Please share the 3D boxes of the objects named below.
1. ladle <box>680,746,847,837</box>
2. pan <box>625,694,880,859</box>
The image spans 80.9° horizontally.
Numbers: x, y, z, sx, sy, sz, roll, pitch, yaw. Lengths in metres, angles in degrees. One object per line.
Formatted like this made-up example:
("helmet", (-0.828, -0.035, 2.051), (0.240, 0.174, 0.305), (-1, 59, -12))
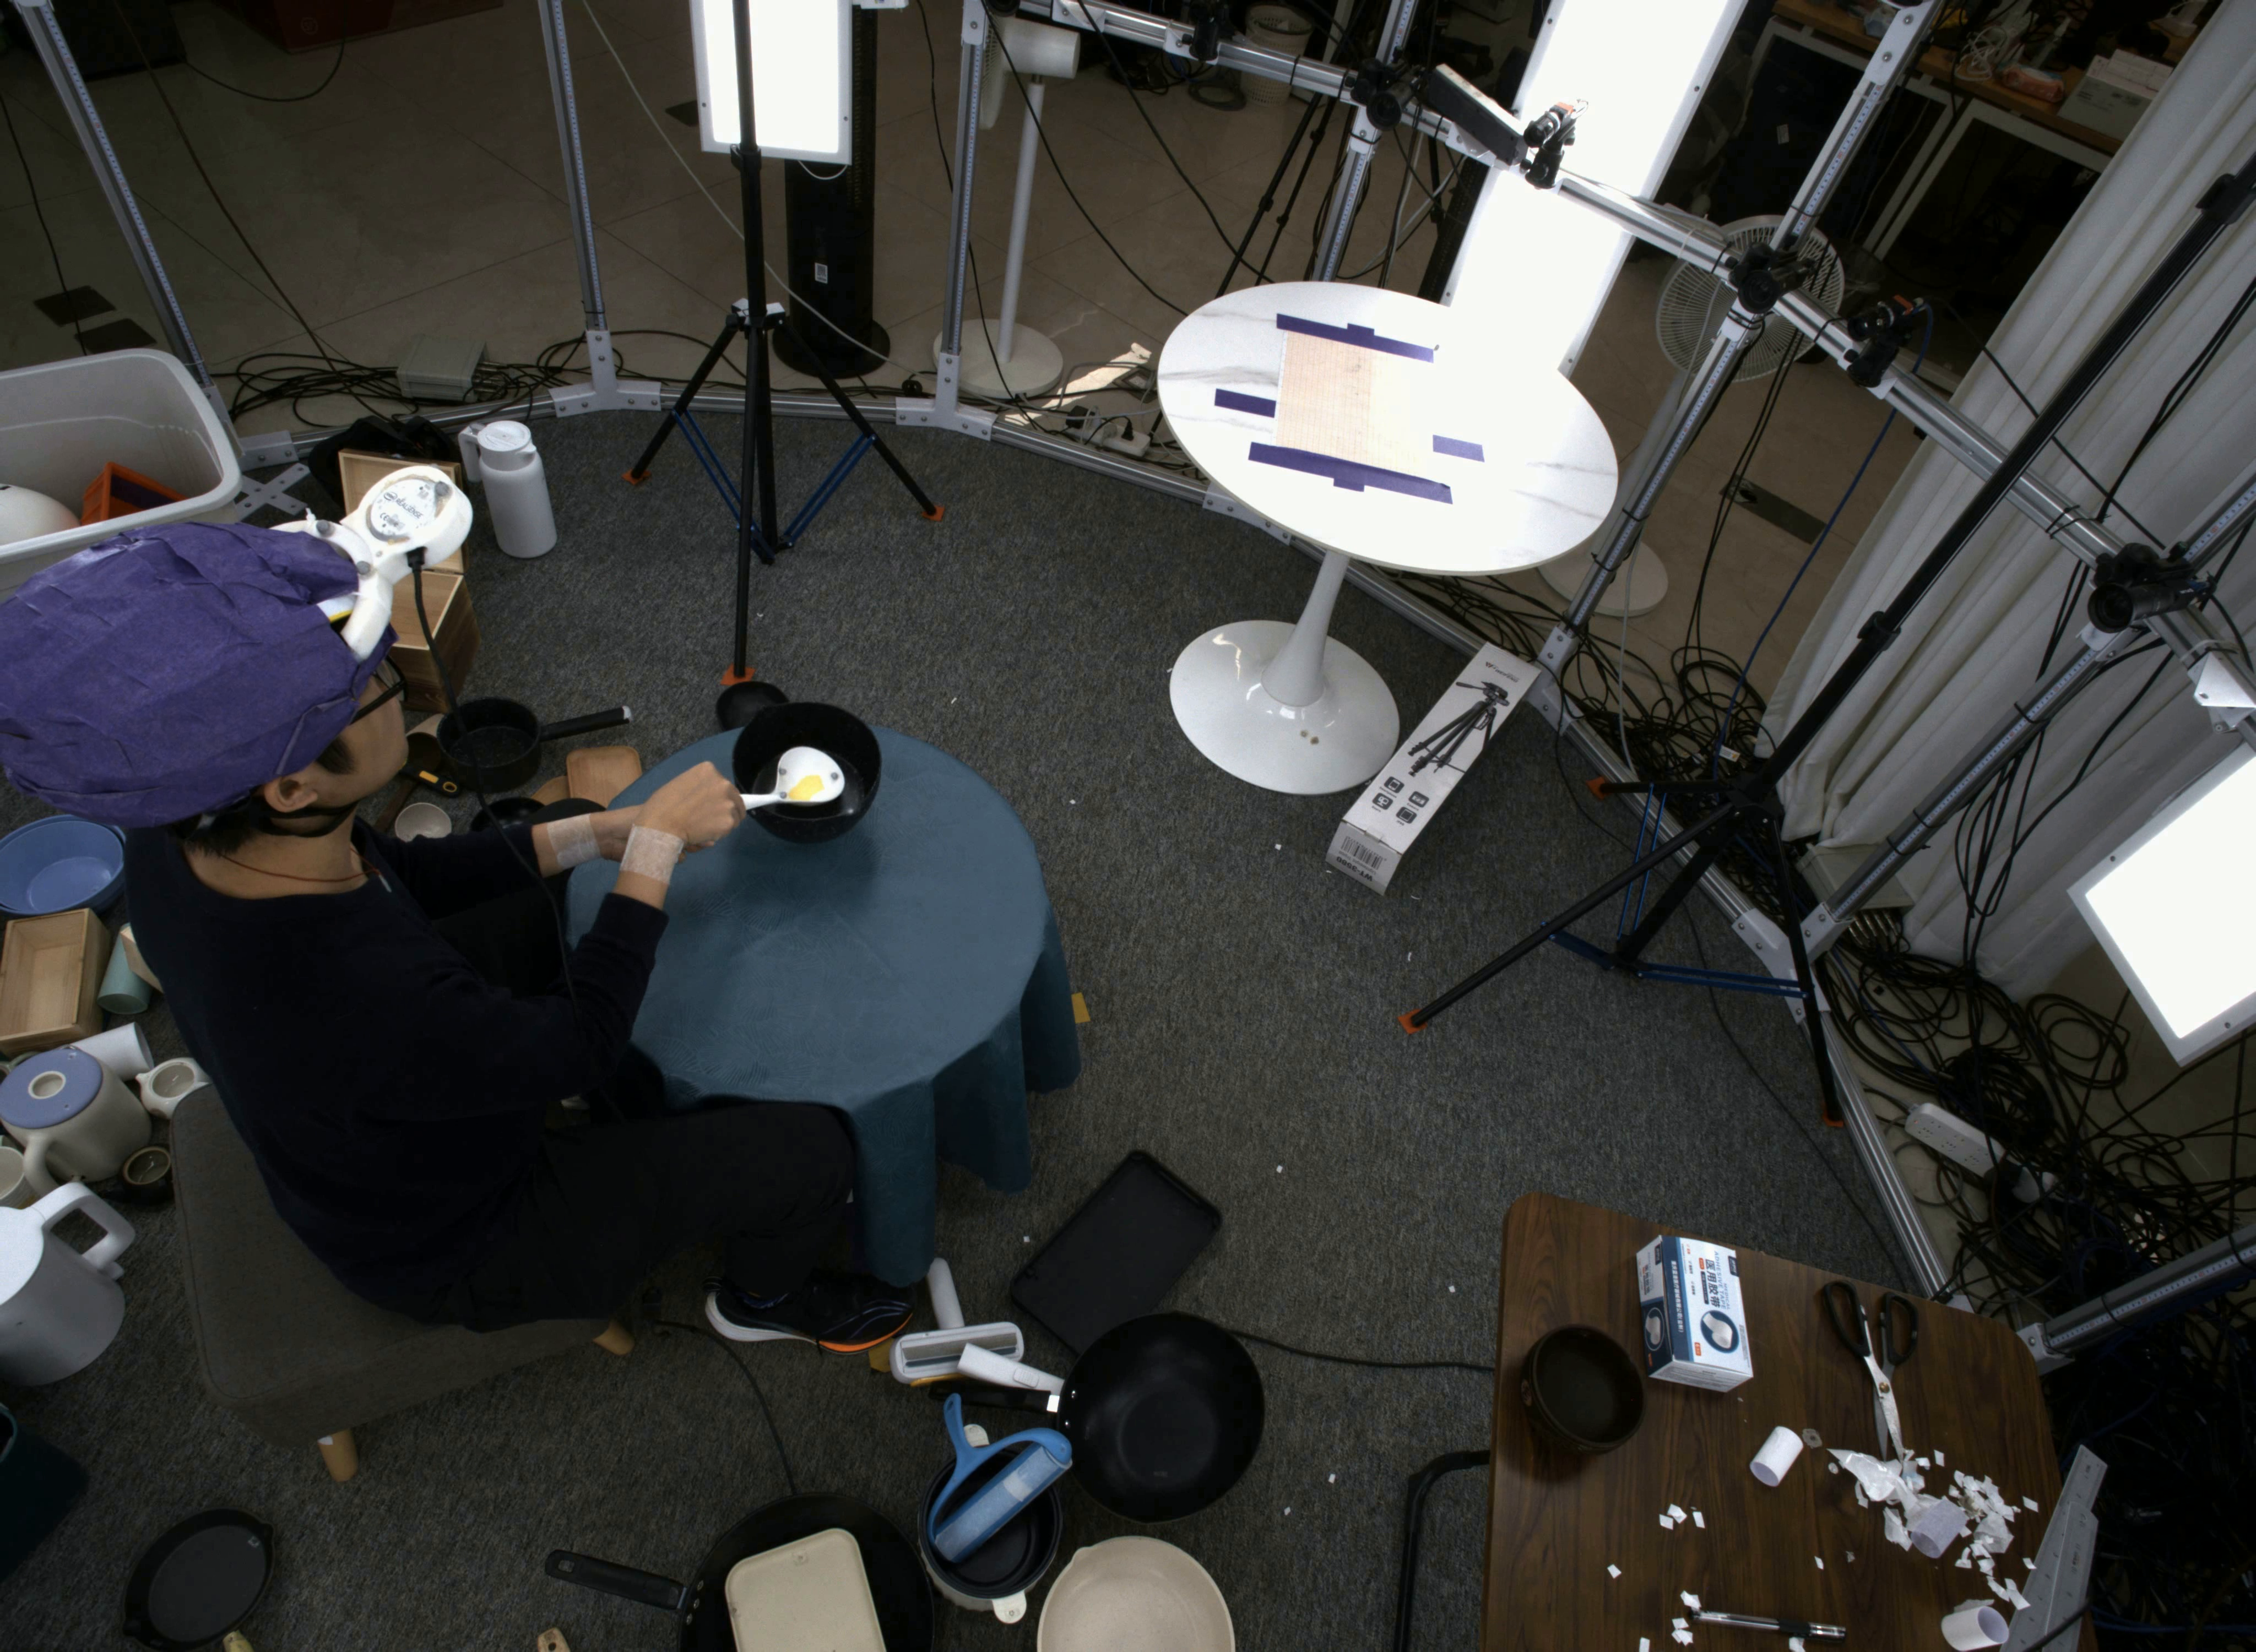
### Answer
("ladle", (-0.432, -0.039, 1.545), (0.090, 0.070, 0.293), (49, 16, 2))
("pan", (-0.462, -0.031, 1.594), (0.343, 0.110, 0.204), (-36, 74, -31))
